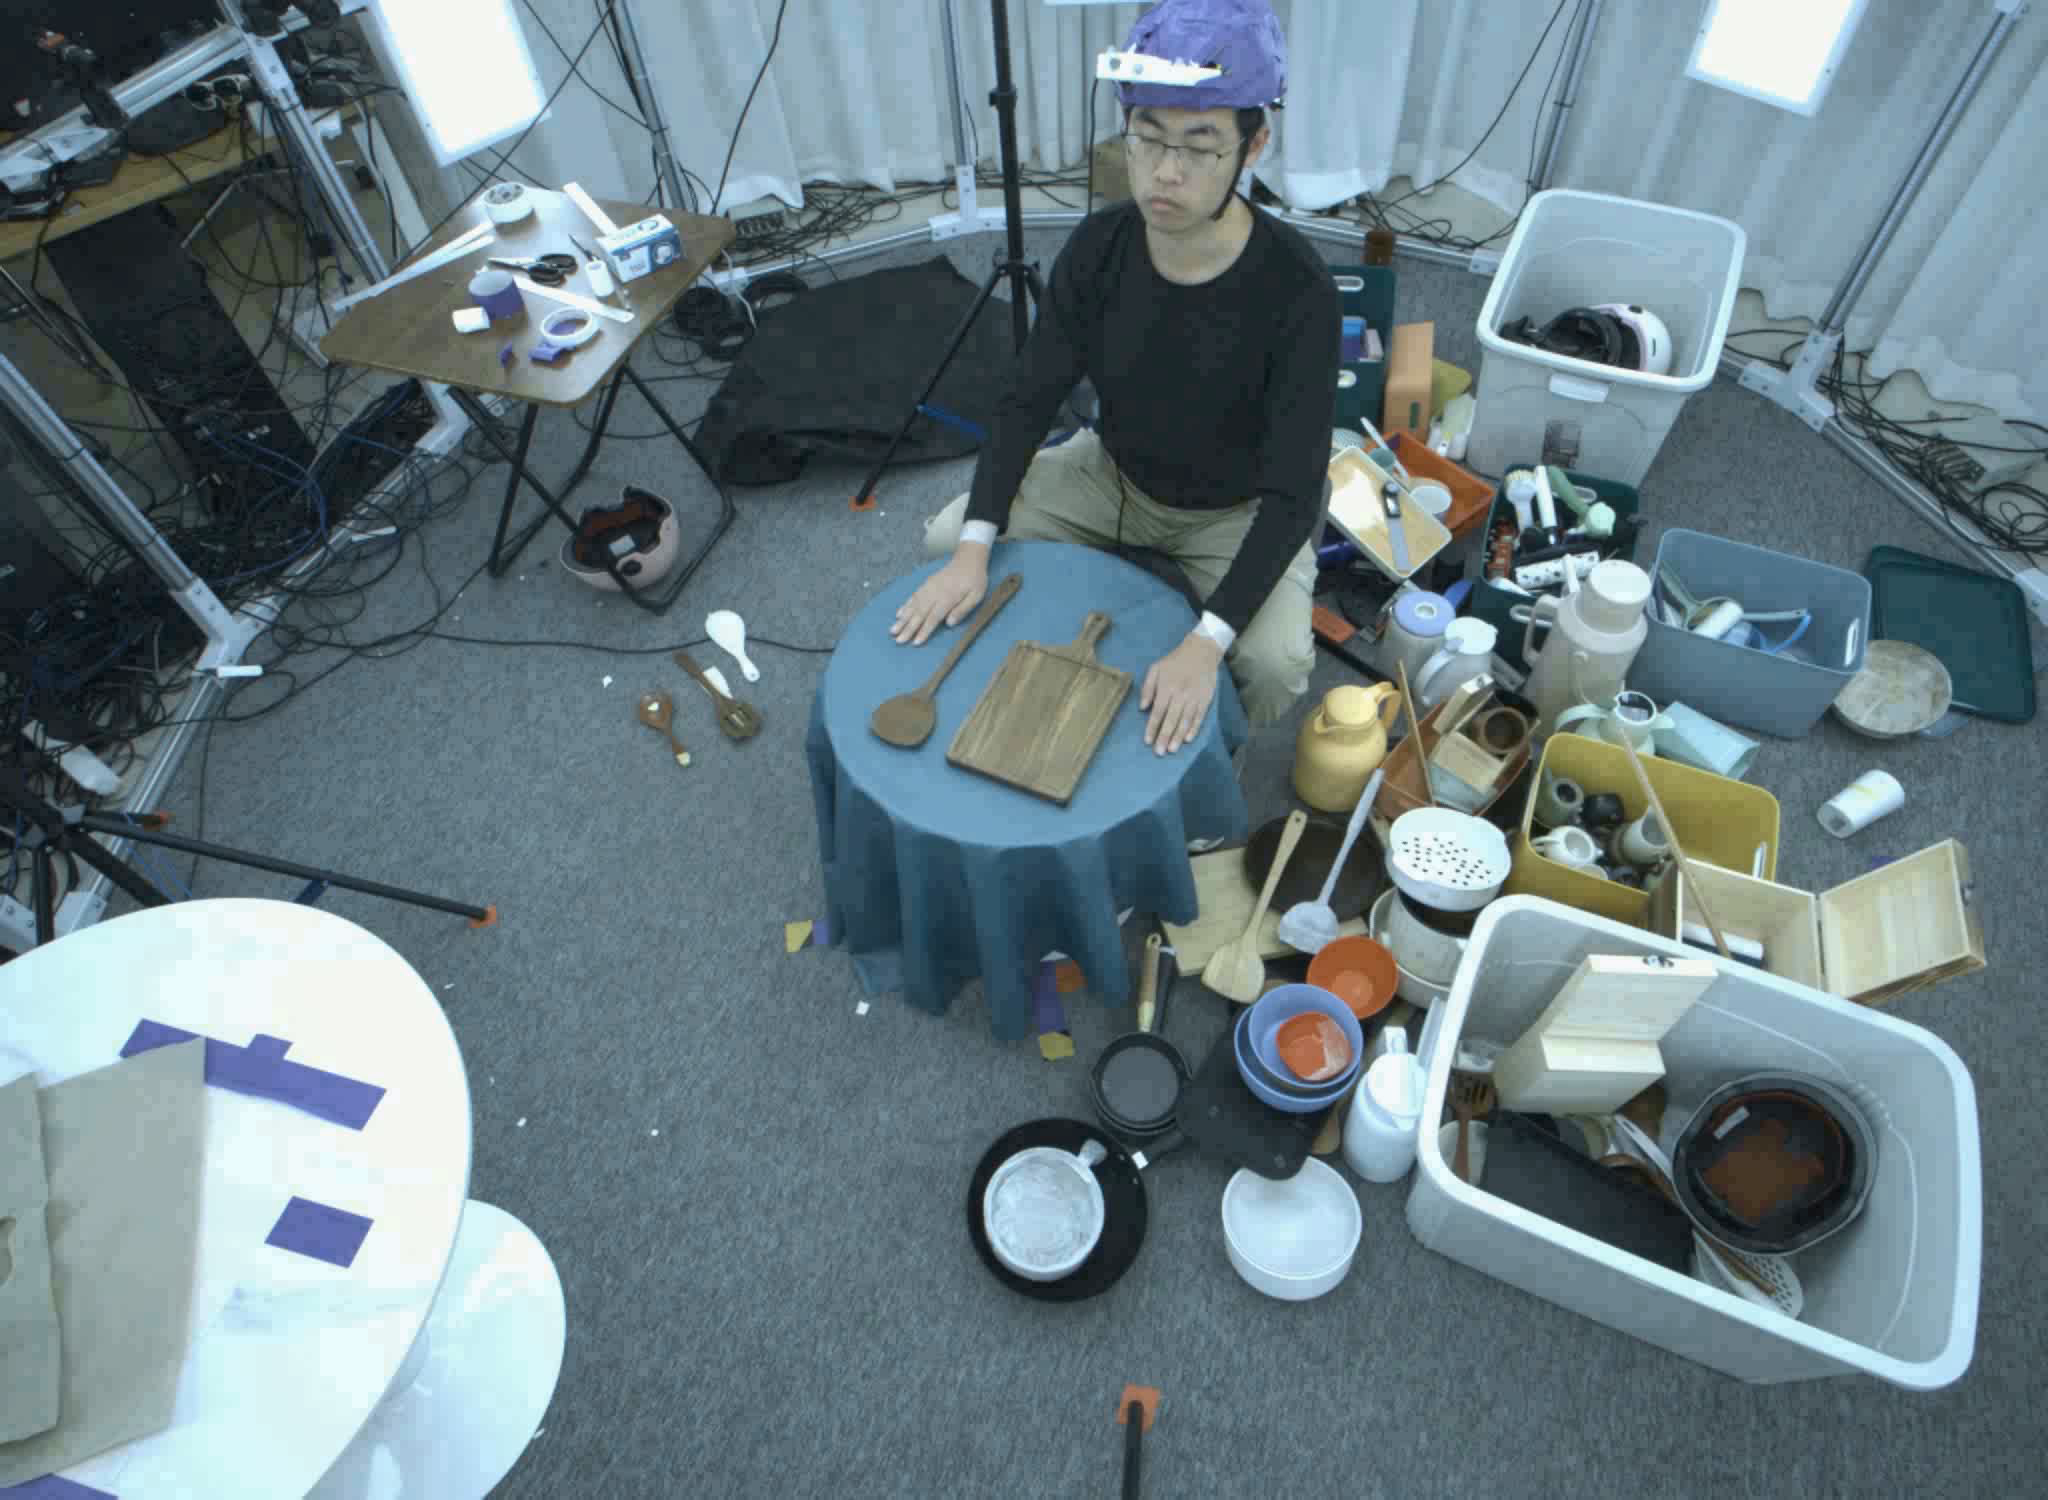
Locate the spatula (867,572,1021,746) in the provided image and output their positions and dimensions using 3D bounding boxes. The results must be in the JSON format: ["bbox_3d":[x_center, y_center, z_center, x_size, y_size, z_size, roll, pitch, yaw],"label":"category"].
[{"bbox_3d":[-0.106,-0.151,1.889,0.095,0.016,0.387,24,59,17],"label":"spatula"}]

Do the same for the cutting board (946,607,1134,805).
[{"bbox_3d":[0.048,-0.085,1.833,0.199,0.023,0.352,20,58,15],"label":"cutting board"}]
